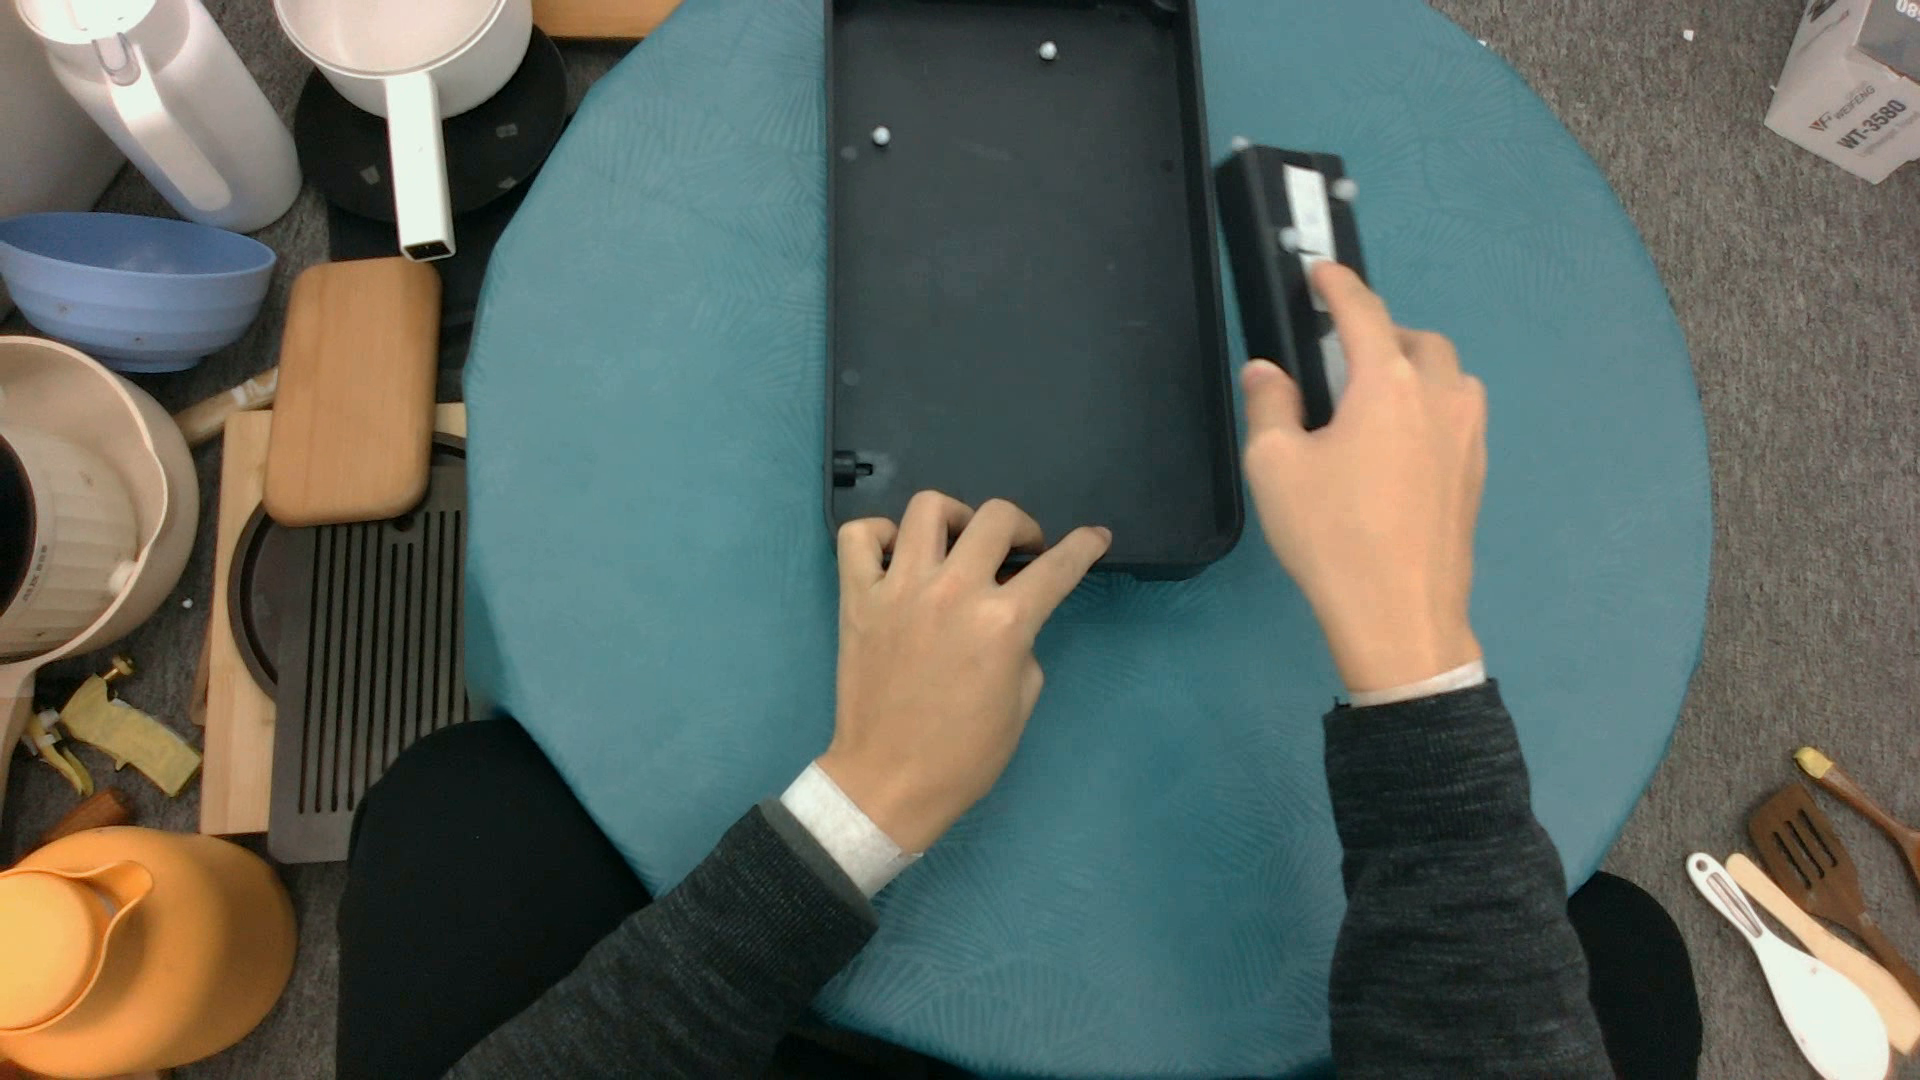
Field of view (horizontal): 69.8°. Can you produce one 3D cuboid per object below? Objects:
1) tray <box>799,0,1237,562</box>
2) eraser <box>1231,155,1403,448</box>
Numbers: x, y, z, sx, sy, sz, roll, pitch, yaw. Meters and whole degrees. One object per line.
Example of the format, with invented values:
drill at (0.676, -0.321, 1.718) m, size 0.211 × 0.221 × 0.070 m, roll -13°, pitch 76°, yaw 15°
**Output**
tray at (0.020, -0.145, 0.650) m, size 0.184 × 0.037 × 0.319 m, roll -1°, pitch 72°, yaw -8°
eraser at (0.149, -0.101, 0.580) m, size 0.053 × 0.030 × 0.126 m, roll 0°, pitch 75°, yaw -21°
